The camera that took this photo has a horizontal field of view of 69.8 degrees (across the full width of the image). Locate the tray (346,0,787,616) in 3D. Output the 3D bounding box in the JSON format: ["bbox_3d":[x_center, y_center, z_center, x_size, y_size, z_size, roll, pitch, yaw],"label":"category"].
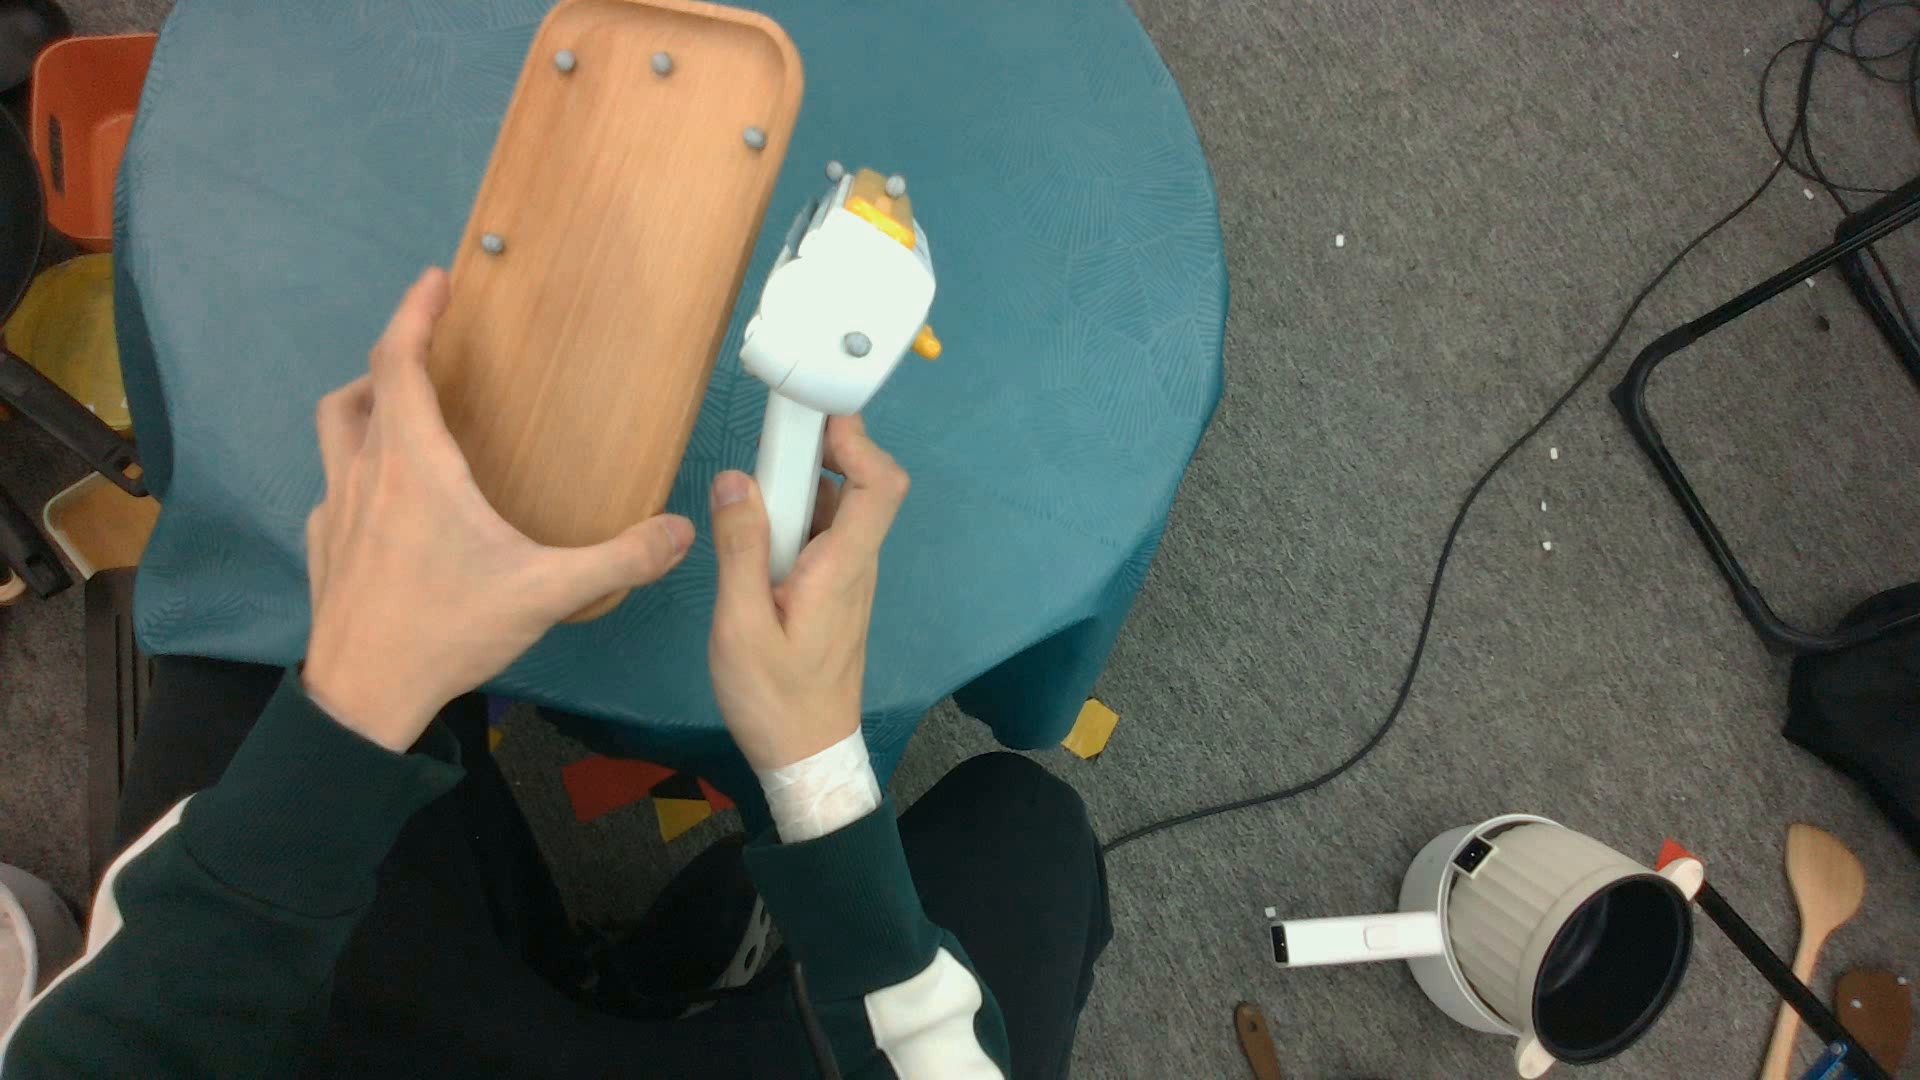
[{"bbox_3d":[-0.157,-0.100,0.550,0.130,0.023,0.251,18,87,22],"label":"tray"}]

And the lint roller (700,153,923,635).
[{"bbox_3d":[-0.074,-0.051,0.547,0.074,0.193,0.192,23,110,-17],"label":"lint roller"}]
